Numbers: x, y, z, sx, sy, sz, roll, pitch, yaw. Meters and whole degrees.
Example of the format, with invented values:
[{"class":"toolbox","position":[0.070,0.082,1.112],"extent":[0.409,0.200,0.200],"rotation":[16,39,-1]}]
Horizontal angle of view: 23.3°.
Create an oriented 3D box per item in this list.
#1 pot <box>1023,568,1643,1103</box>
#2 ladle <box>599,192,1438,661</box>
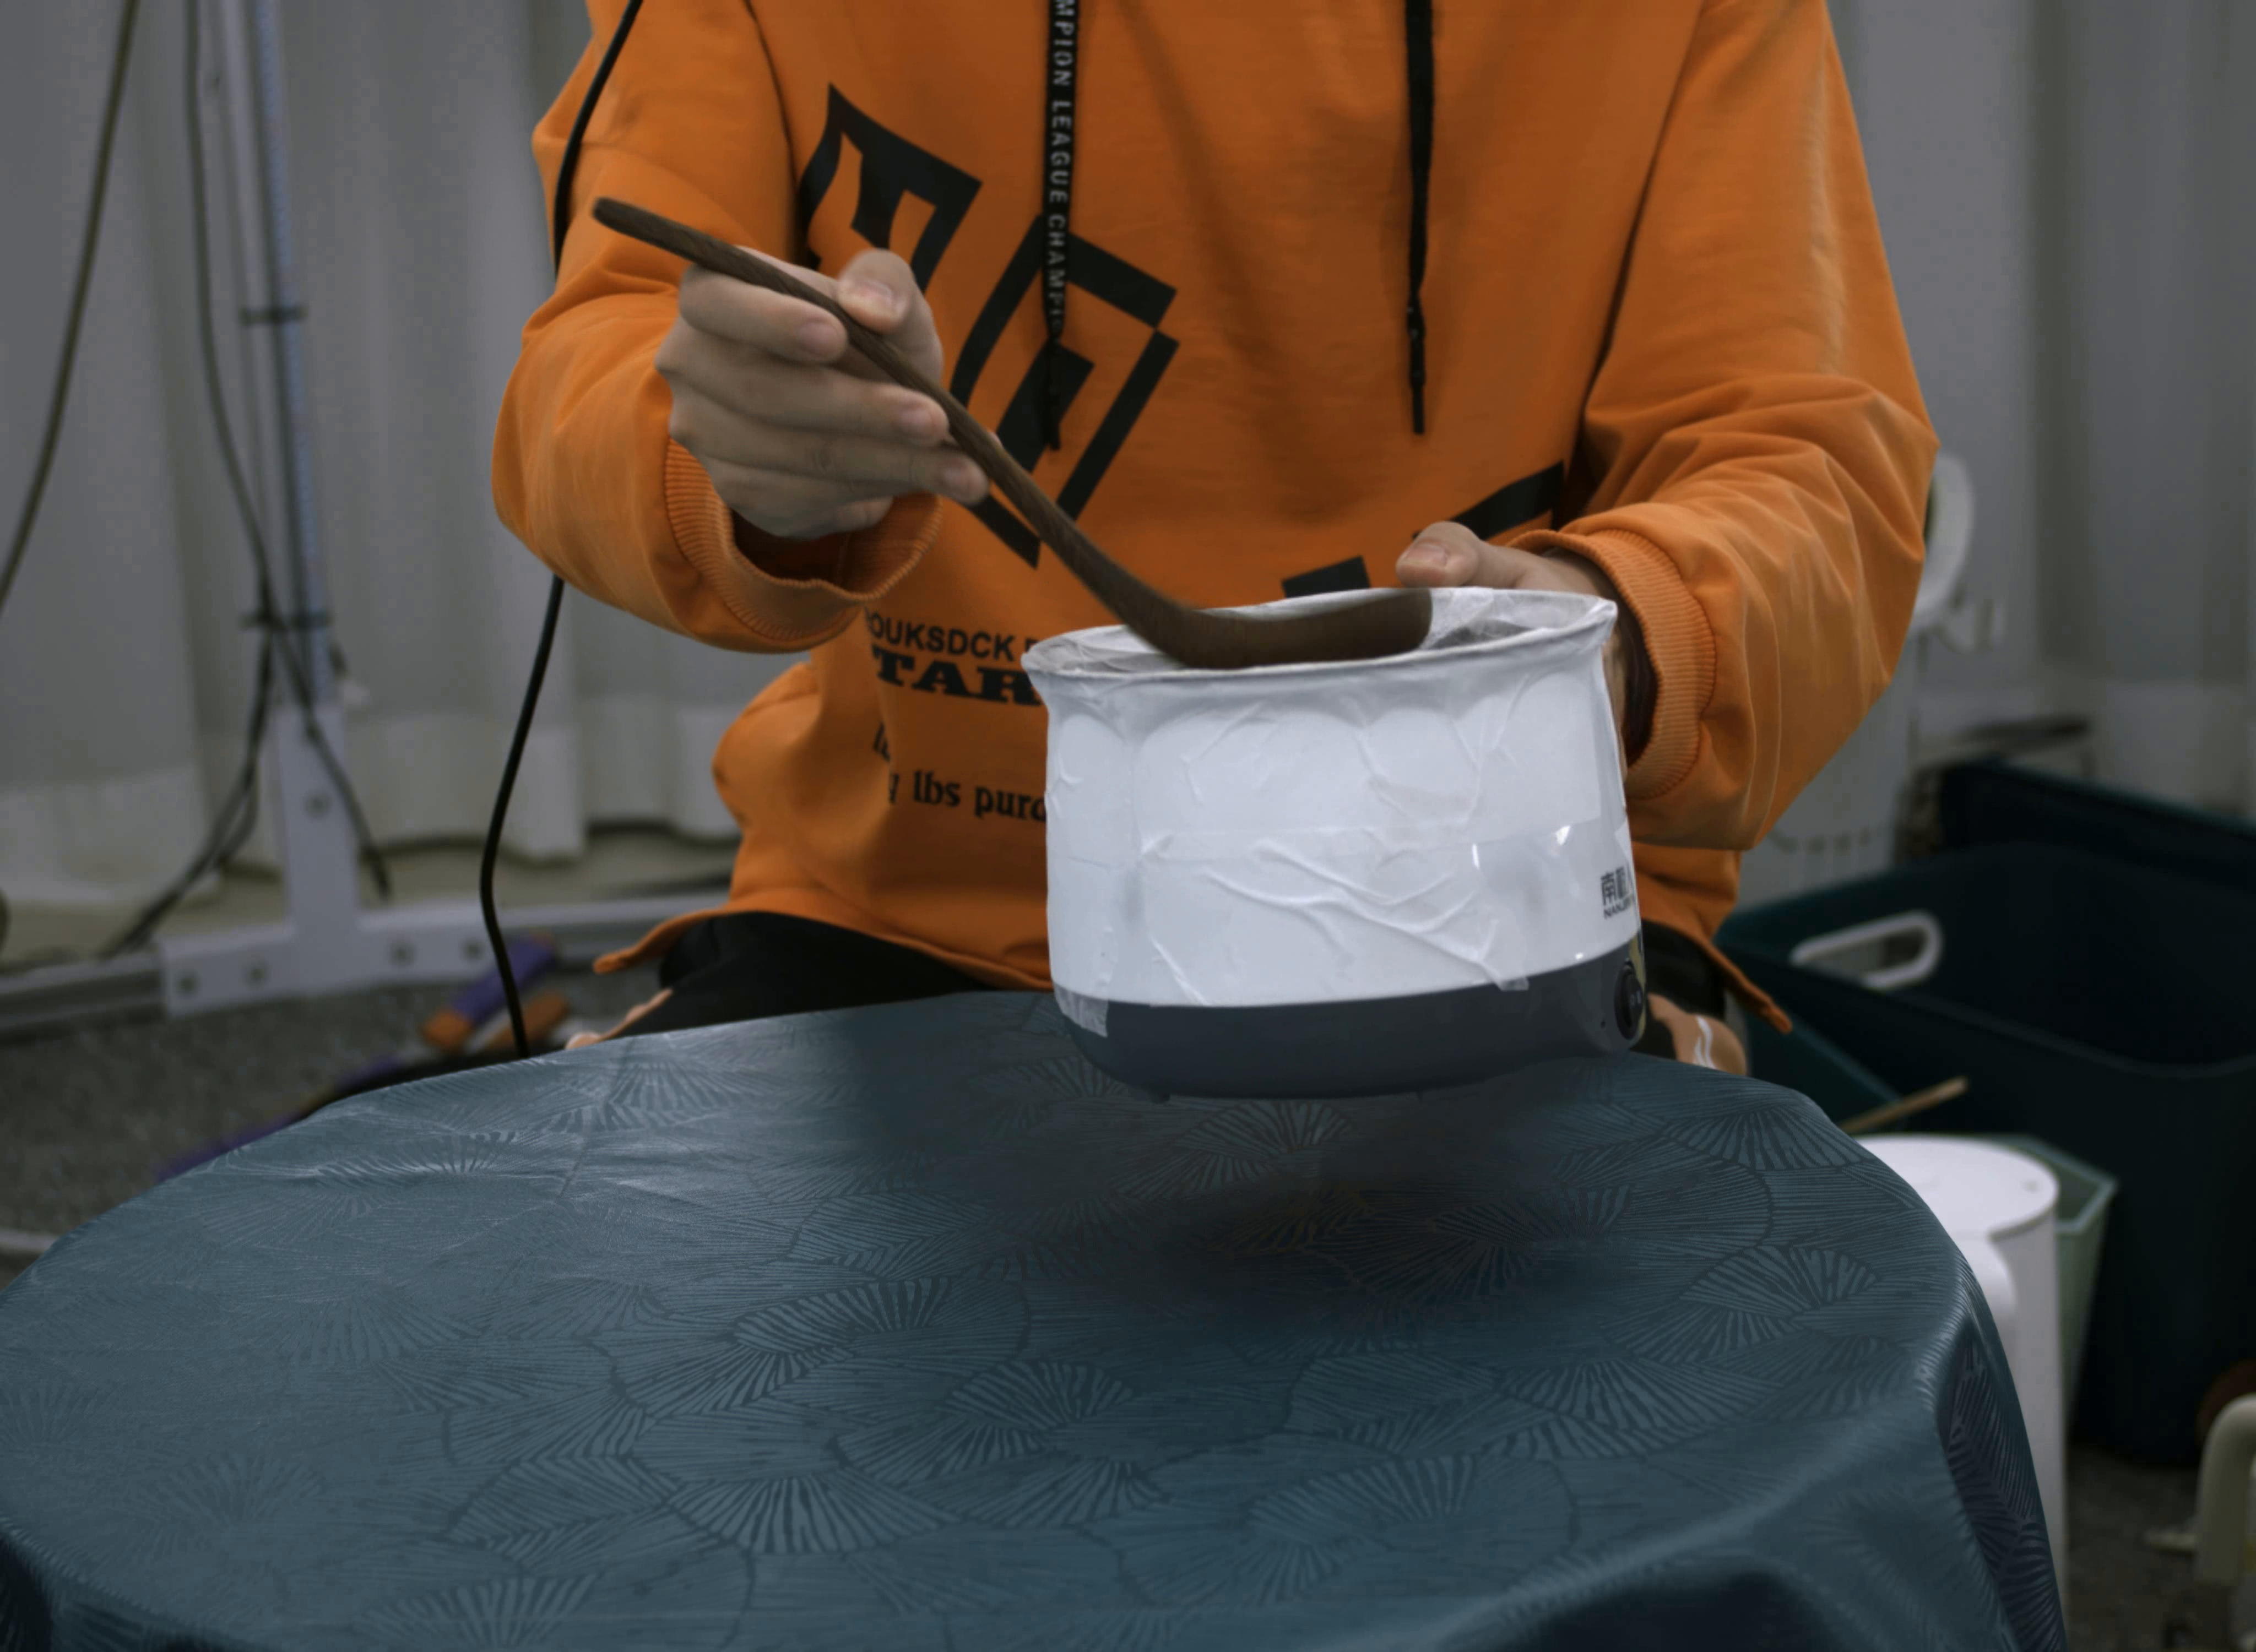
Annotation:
[{"class":"pot","position":[0.071,-0.001,1.654],"extent":[0.179,0.136,0.234],"rotation":[-1,9,21]},{"class":"ladle","position":[-0.030,-0.123,1.622],"extent":[0.274,0.071,0.076],"rotation":[40,-1,0]}]
